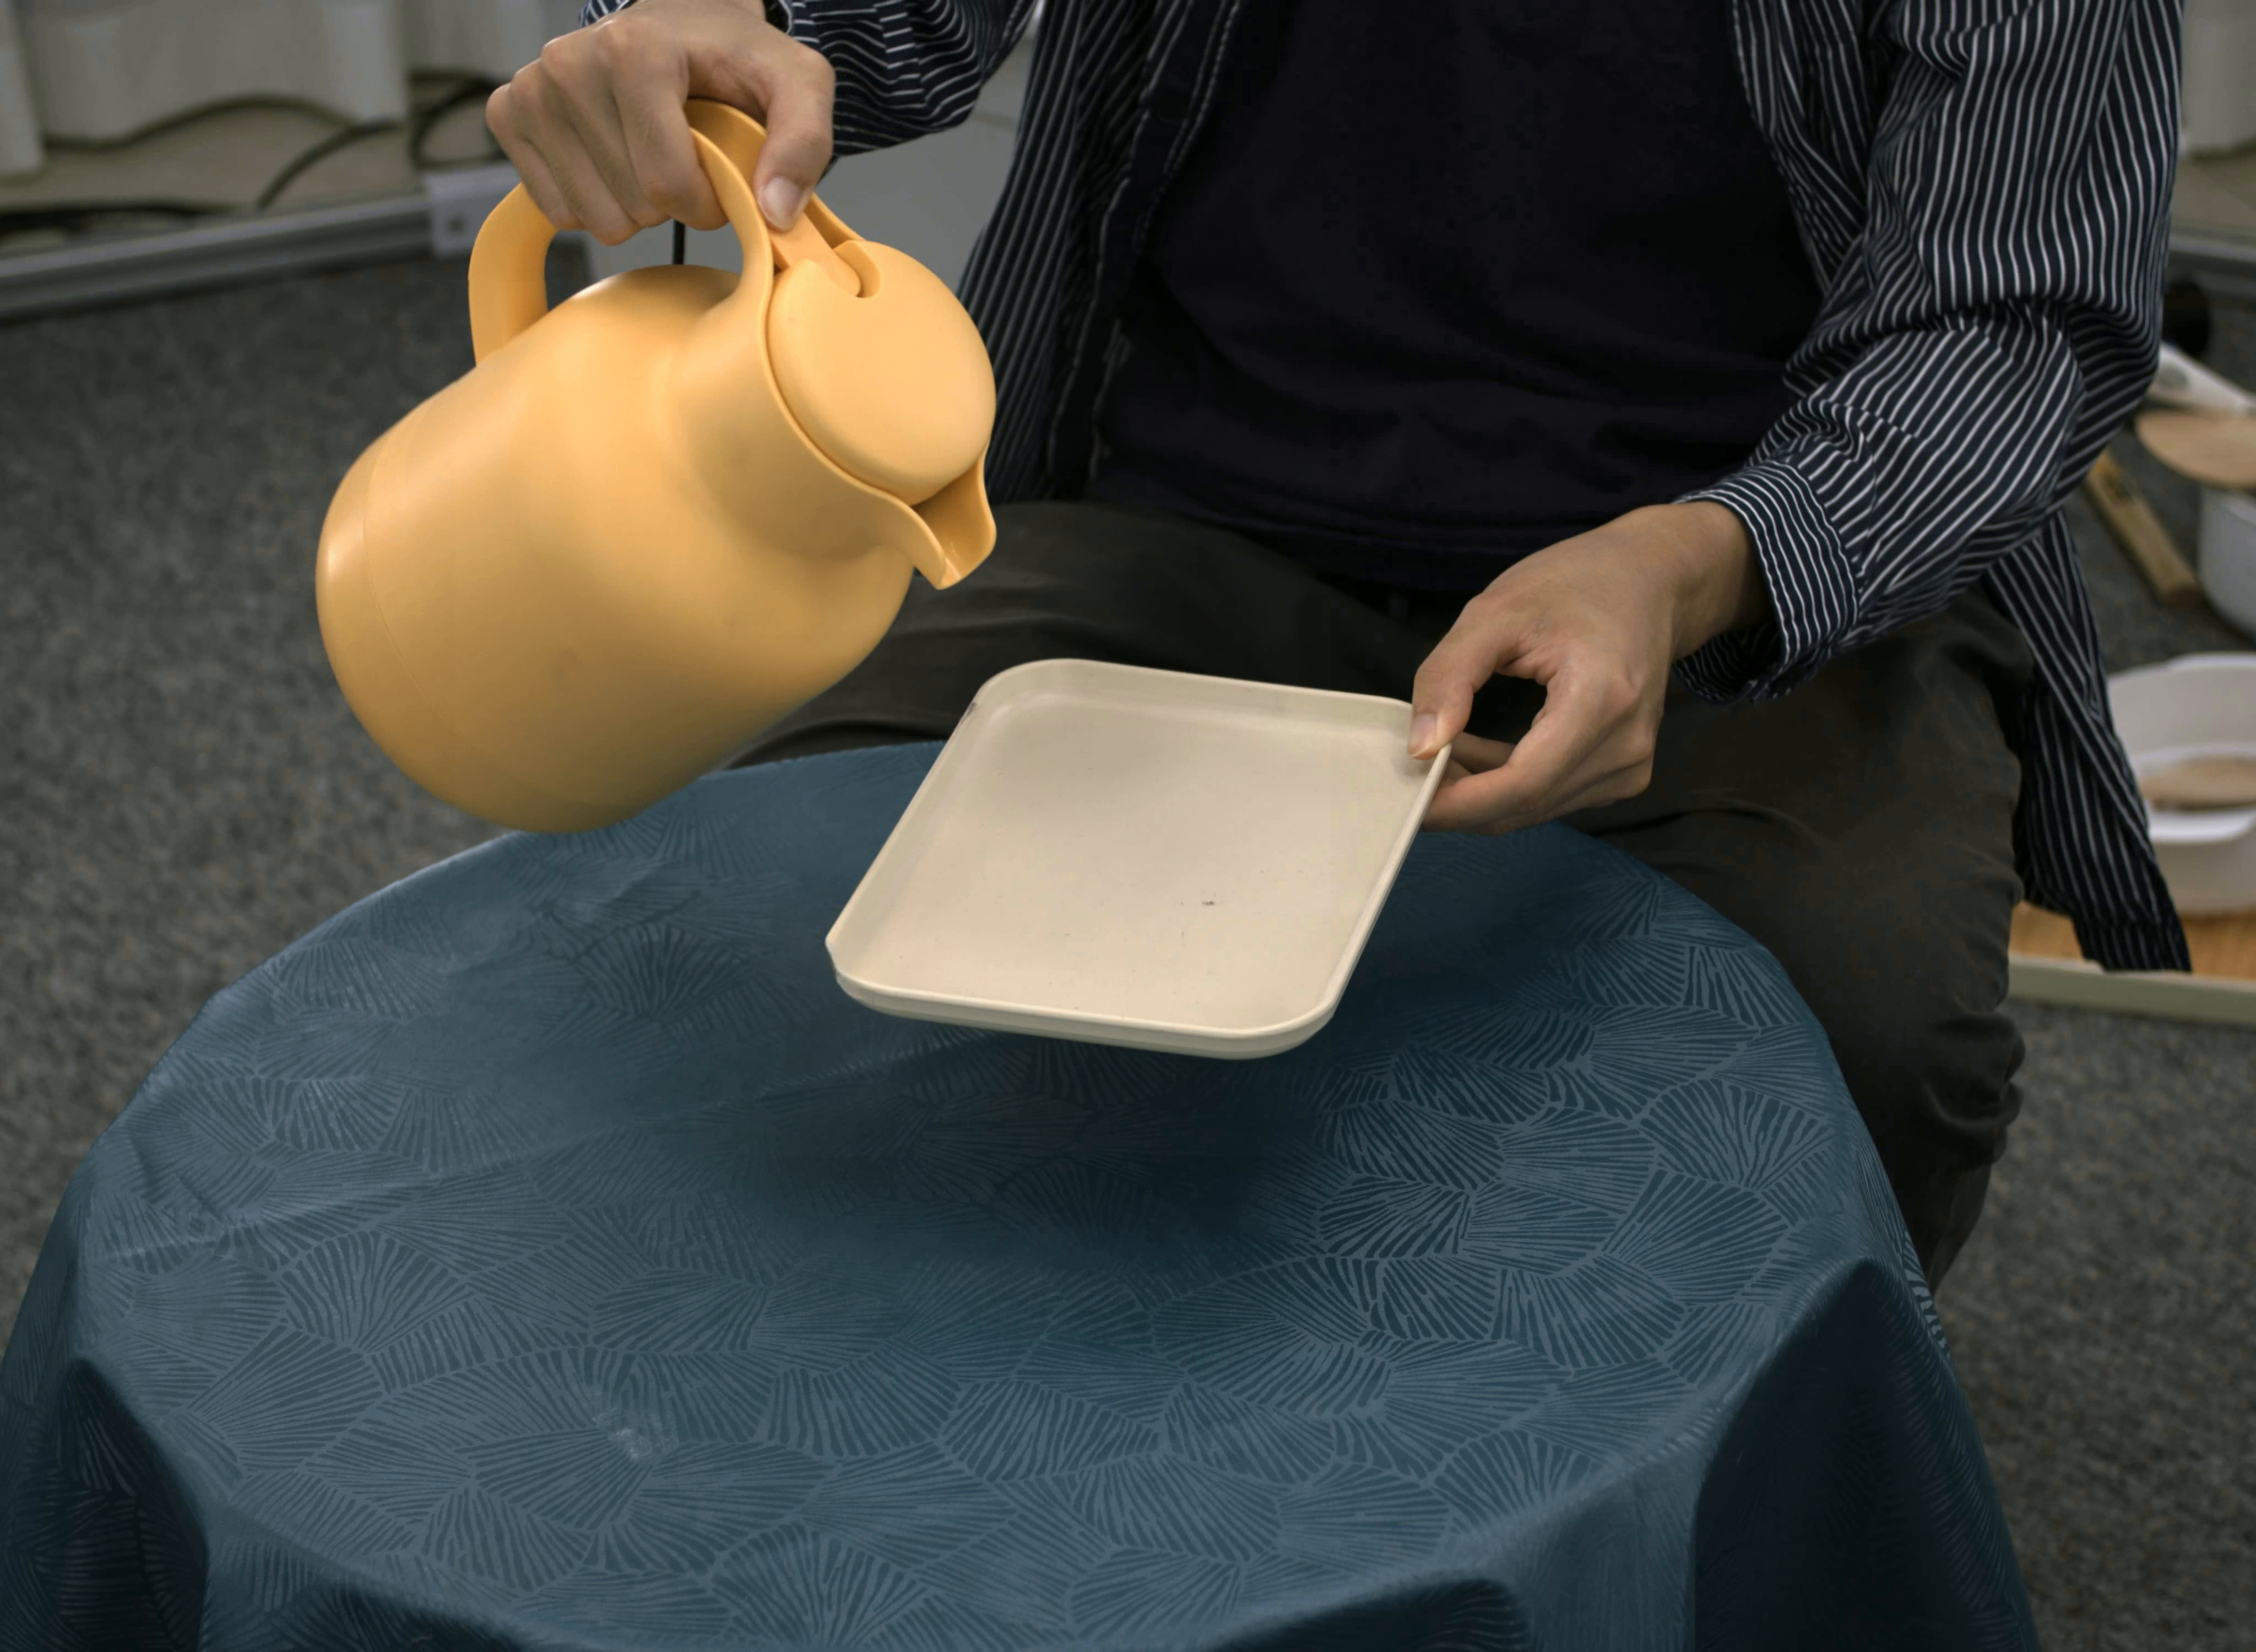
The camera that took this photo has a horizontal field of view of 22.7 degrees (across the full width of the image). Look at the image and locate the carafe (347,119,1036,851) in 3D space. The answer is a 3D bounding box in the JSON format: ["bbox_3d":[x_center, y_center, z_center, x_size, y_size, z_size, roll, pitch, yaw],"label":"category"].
[{"bbox_3d":[-0.152,-0.120,1.934,0.256,0.203,0.165,-30,0,41],"label":"carafe"}]

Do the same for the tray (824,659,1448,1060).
[{"bbox_3d":[0.006,0.010,1.879,0.170,0.017,0.244,8,29,12],"label":"tray"}]
